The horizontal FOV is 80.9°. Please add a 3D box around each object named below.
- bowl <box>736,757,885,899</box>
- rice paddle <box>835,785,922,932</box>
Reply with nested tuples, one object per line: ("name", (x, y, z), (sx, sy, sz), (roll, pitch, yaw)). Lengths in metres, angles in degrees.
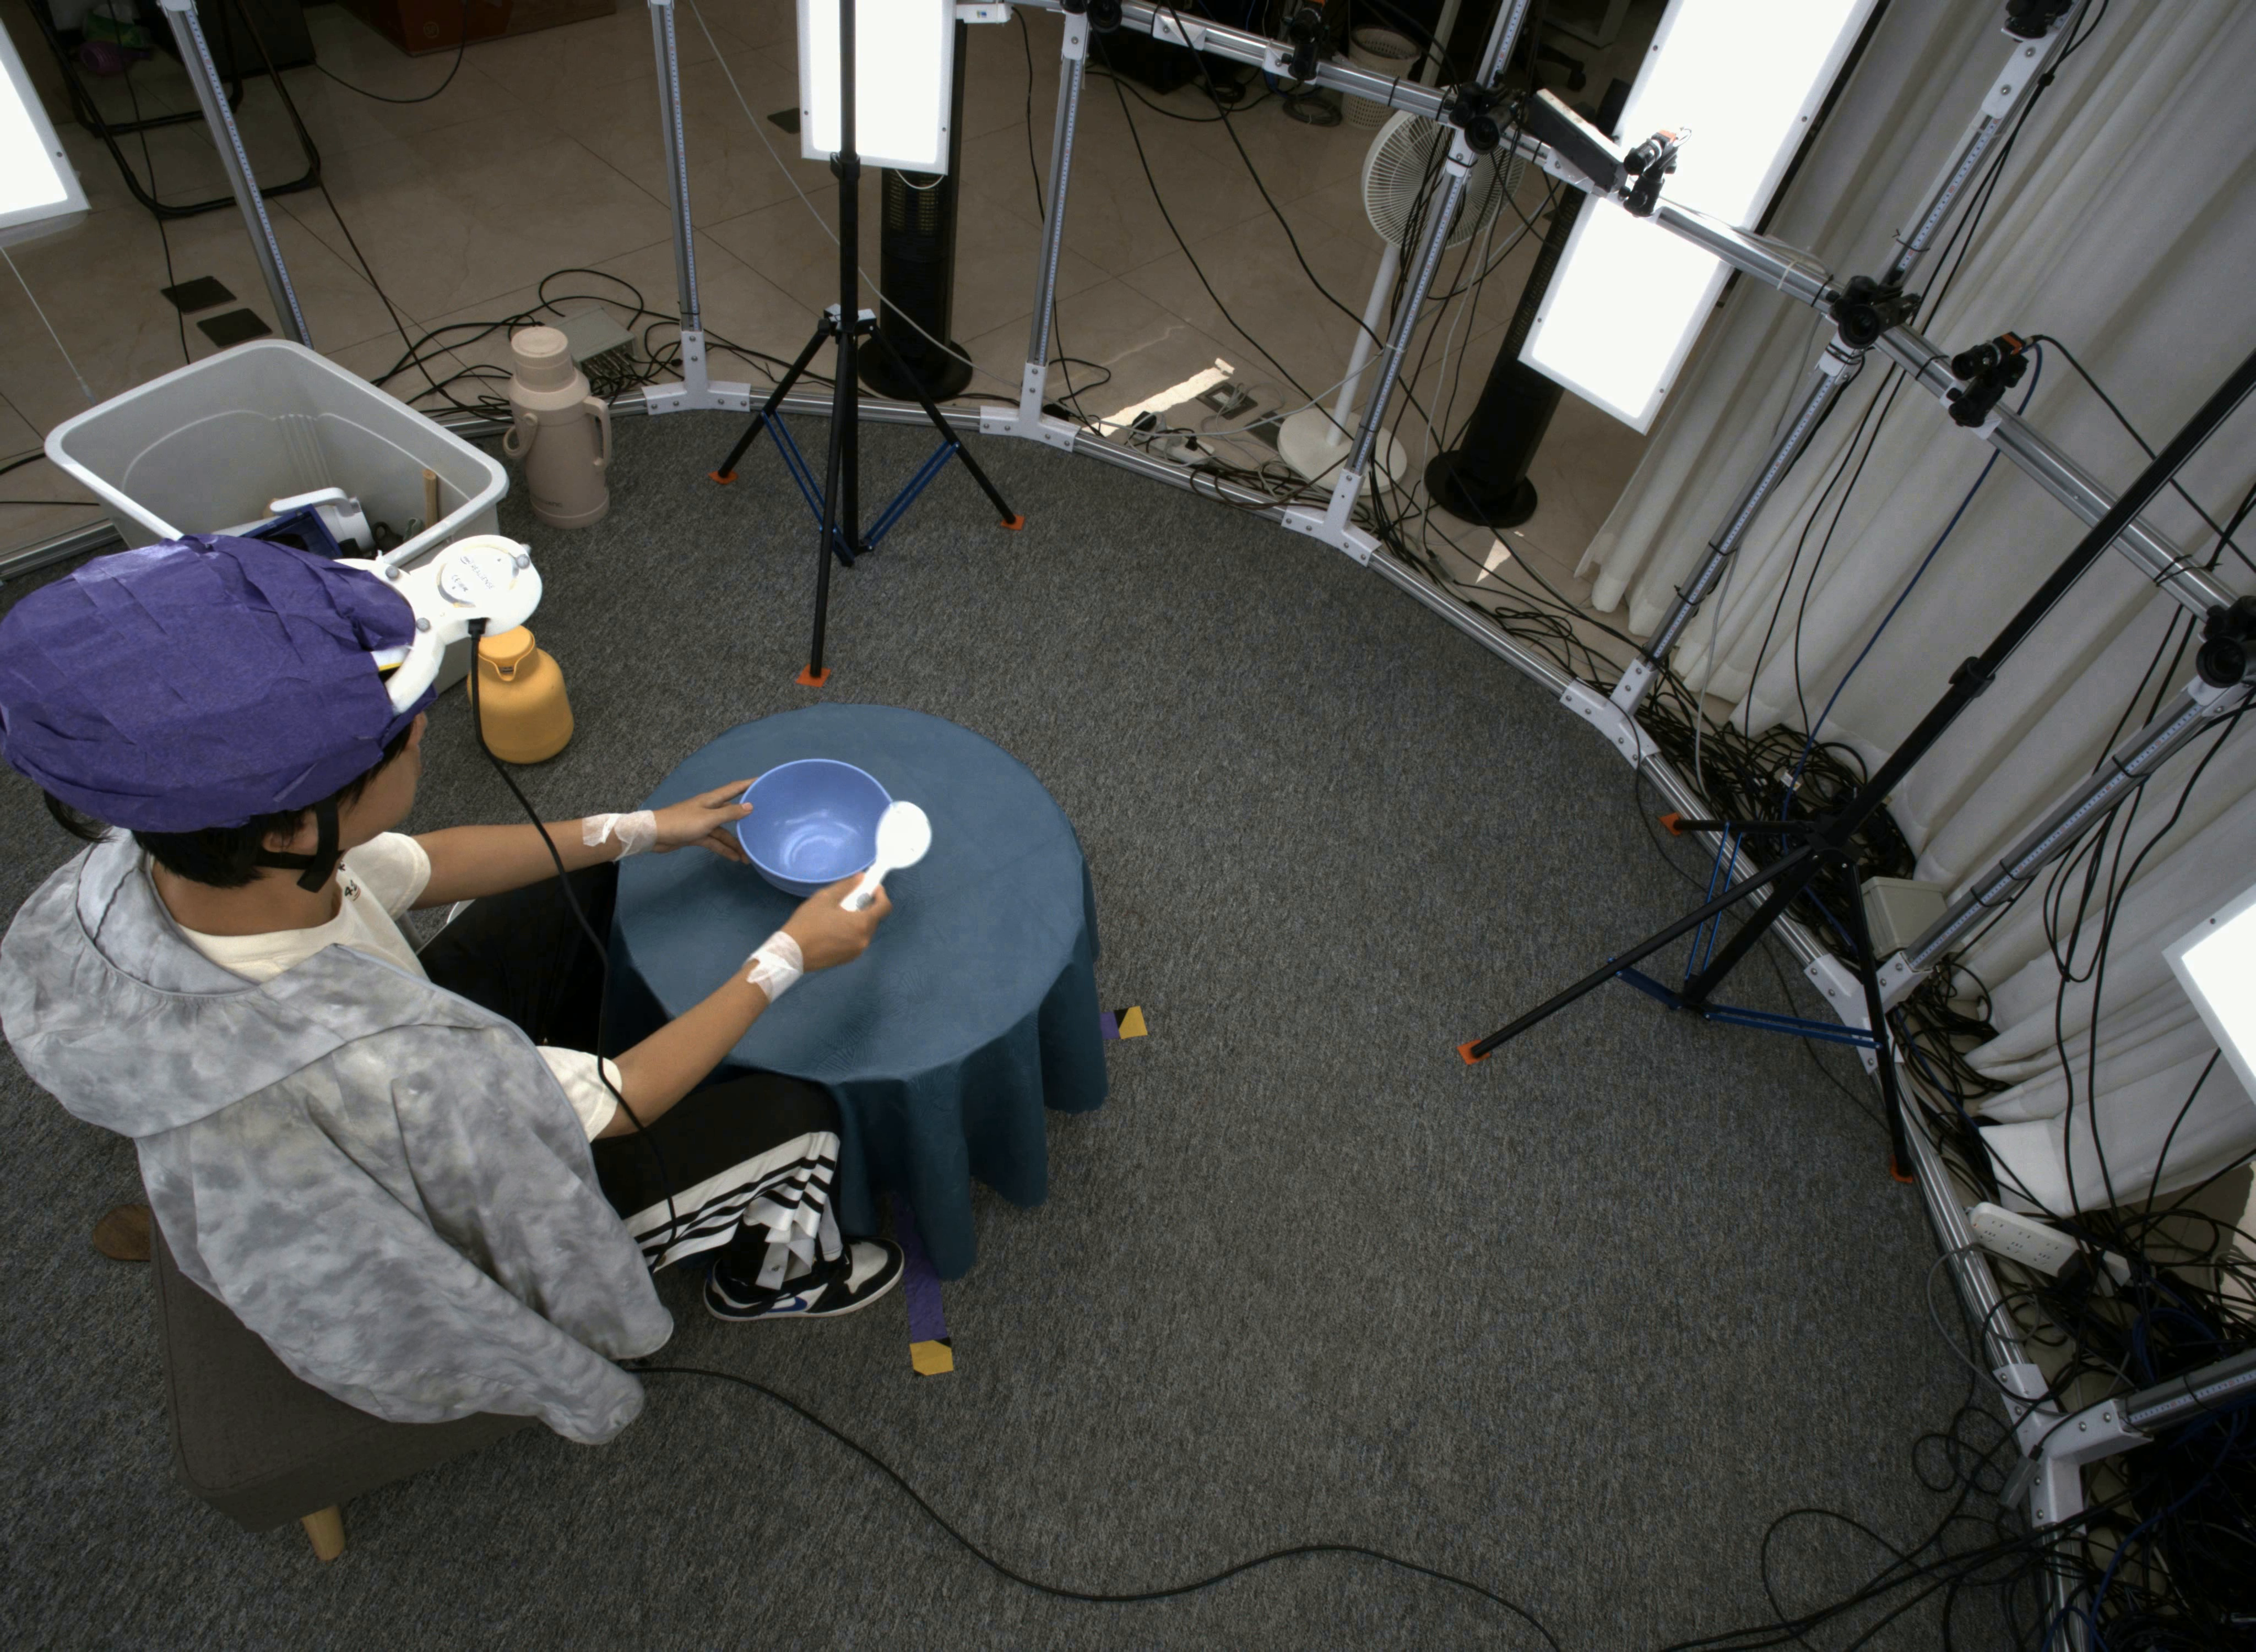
("bowl", (-0.397, 0.017, 1.657), (0.196, 0.097, 0.193), (9, 52, -9))
("rice paddle", (-0.303, 0.032, 1.573), (0.070, 0.029, 0.203), (31, 55, -20))
